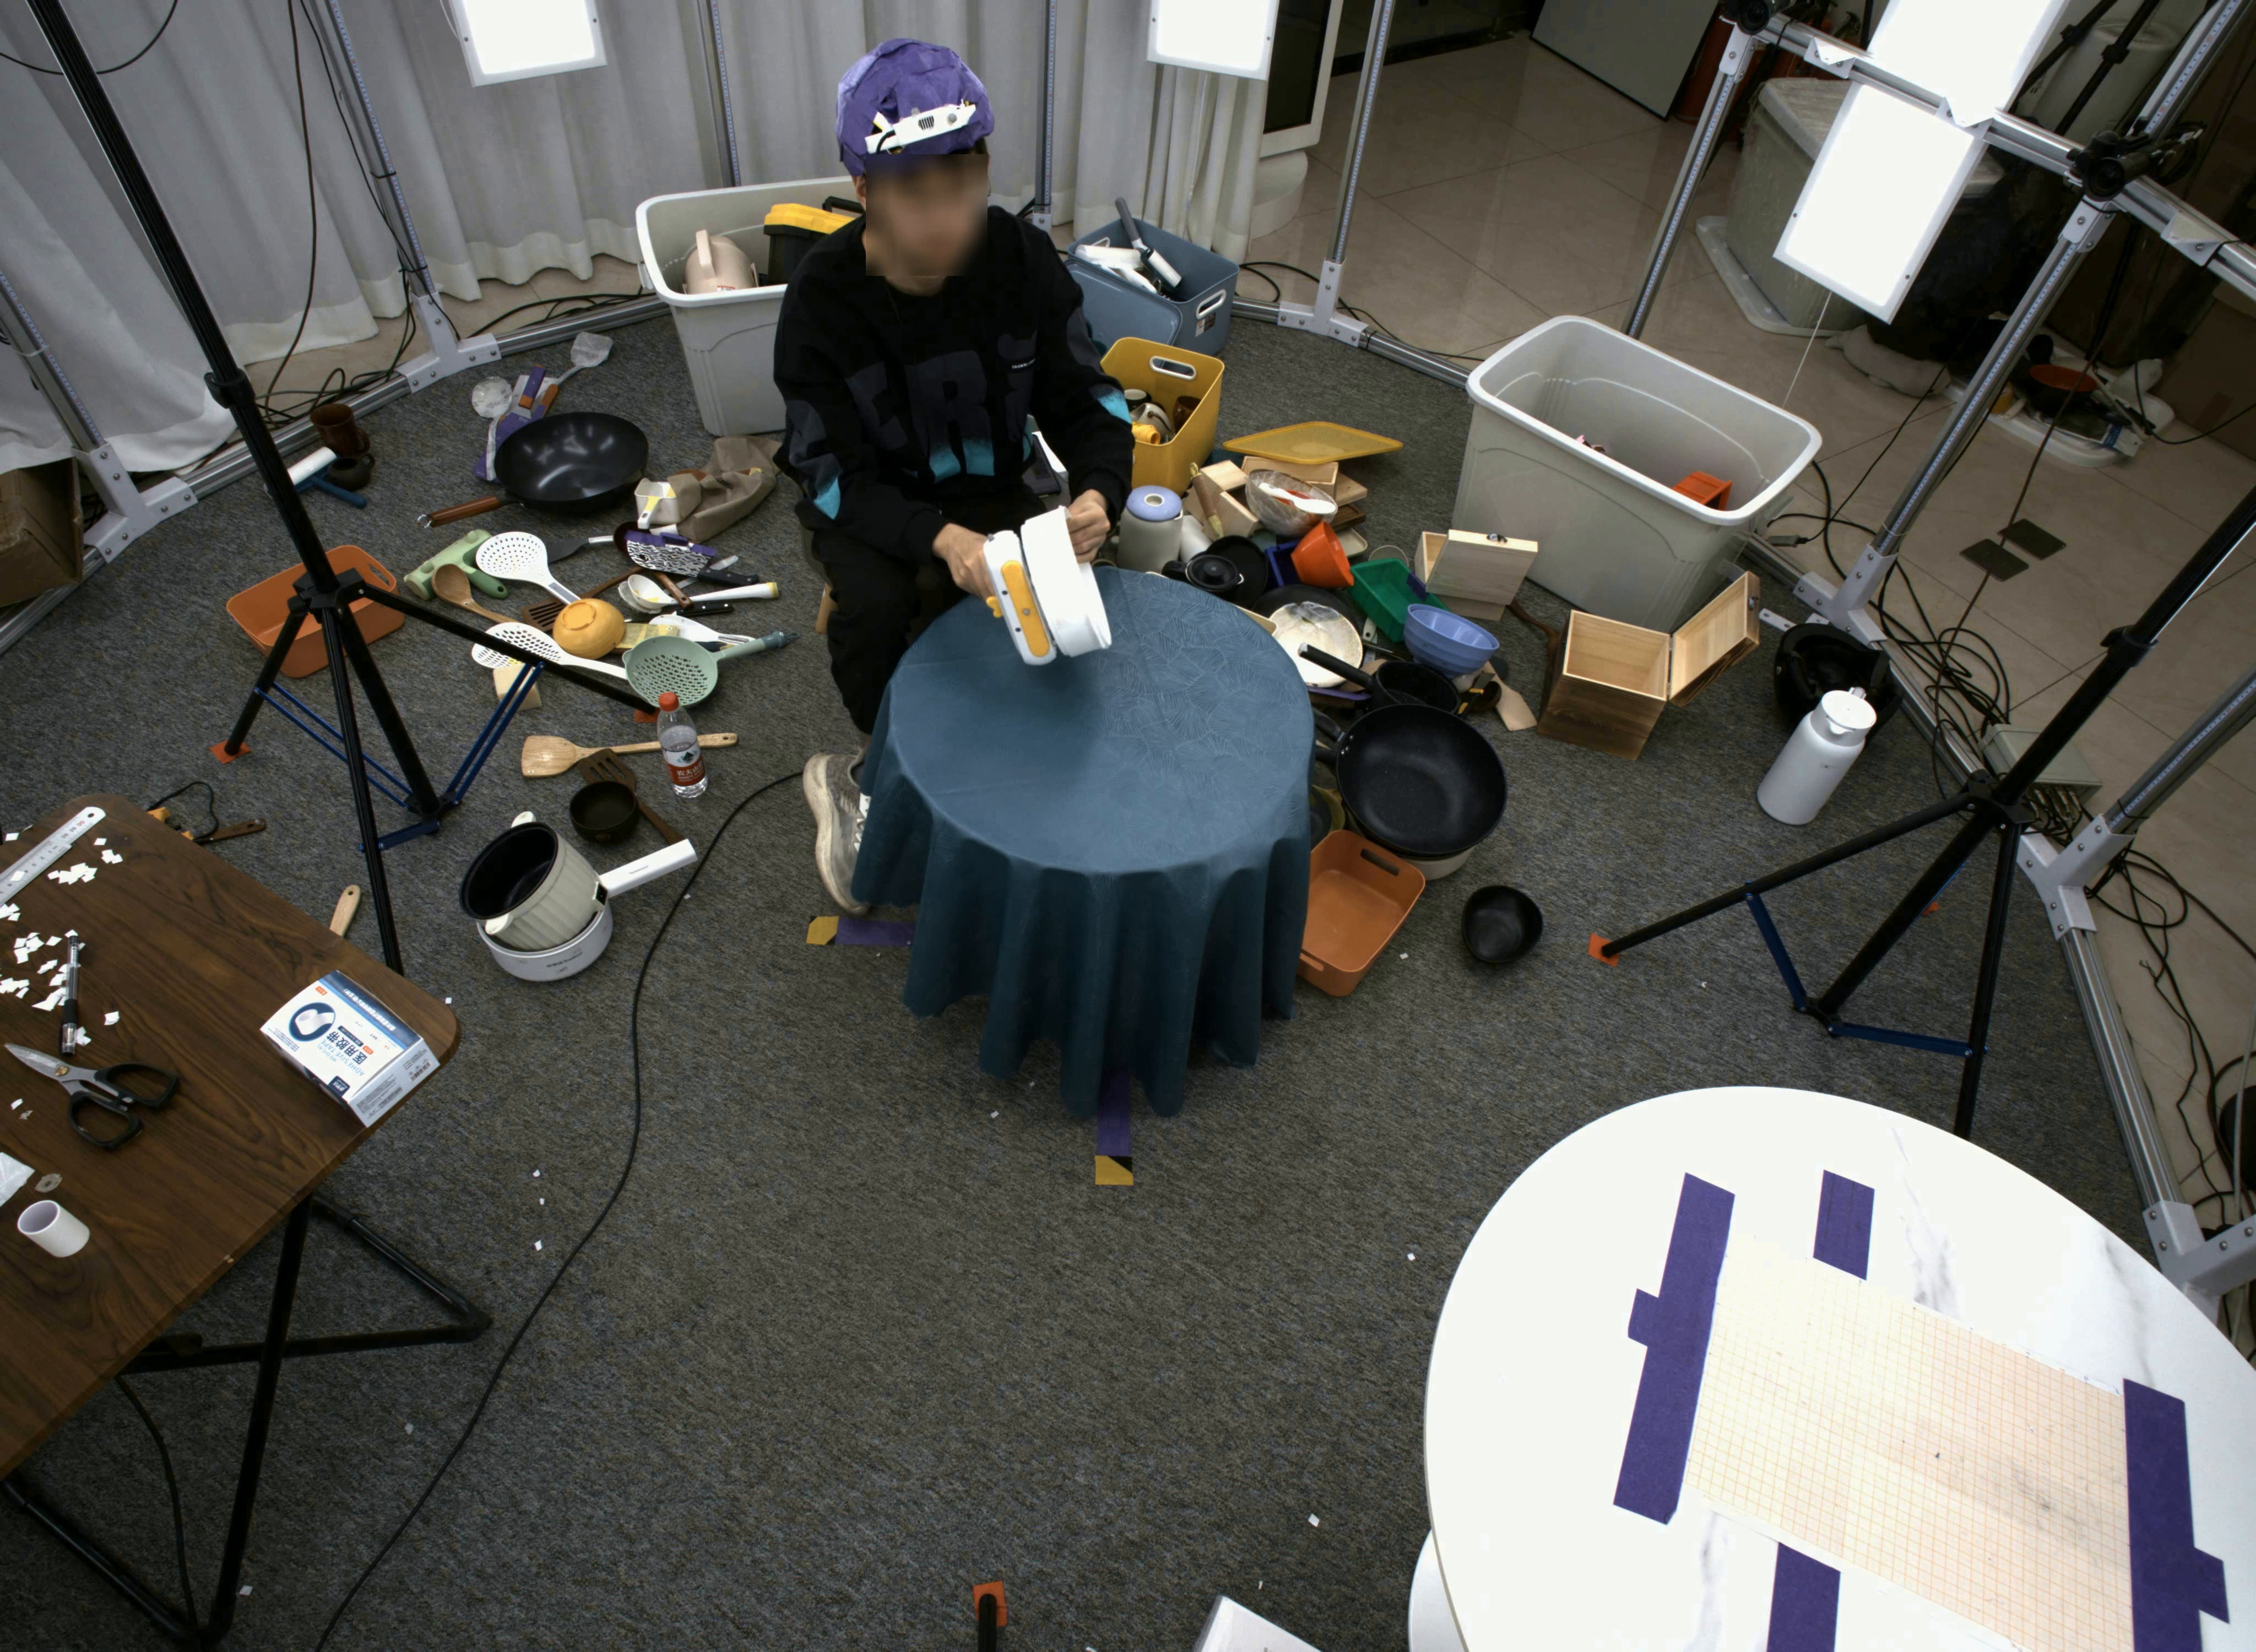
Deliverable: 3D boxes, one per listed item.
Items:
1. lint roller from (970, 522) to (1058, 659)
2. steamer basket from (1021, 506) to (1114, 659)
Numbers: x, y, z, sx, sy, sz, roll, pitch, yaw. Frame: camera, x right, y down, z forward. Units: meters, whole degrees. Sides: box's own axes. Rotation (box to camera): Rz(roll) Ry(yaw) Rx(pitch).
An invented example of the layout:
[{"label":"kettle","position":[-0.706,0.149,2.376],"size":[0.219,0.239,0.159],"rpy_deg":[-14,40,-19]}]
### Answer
[{"label":"lint roller","position":[-0.168,-0.337,1.783],"size":[0.074,0.188,0.196],"rpy_deg":[-27,33,-5]},{"label":"steamer basket","position":[-0.083,-0.325,1.736],"size":[0.069,0.197,0.236],"rpy_deg":[-18,55,7]}]
